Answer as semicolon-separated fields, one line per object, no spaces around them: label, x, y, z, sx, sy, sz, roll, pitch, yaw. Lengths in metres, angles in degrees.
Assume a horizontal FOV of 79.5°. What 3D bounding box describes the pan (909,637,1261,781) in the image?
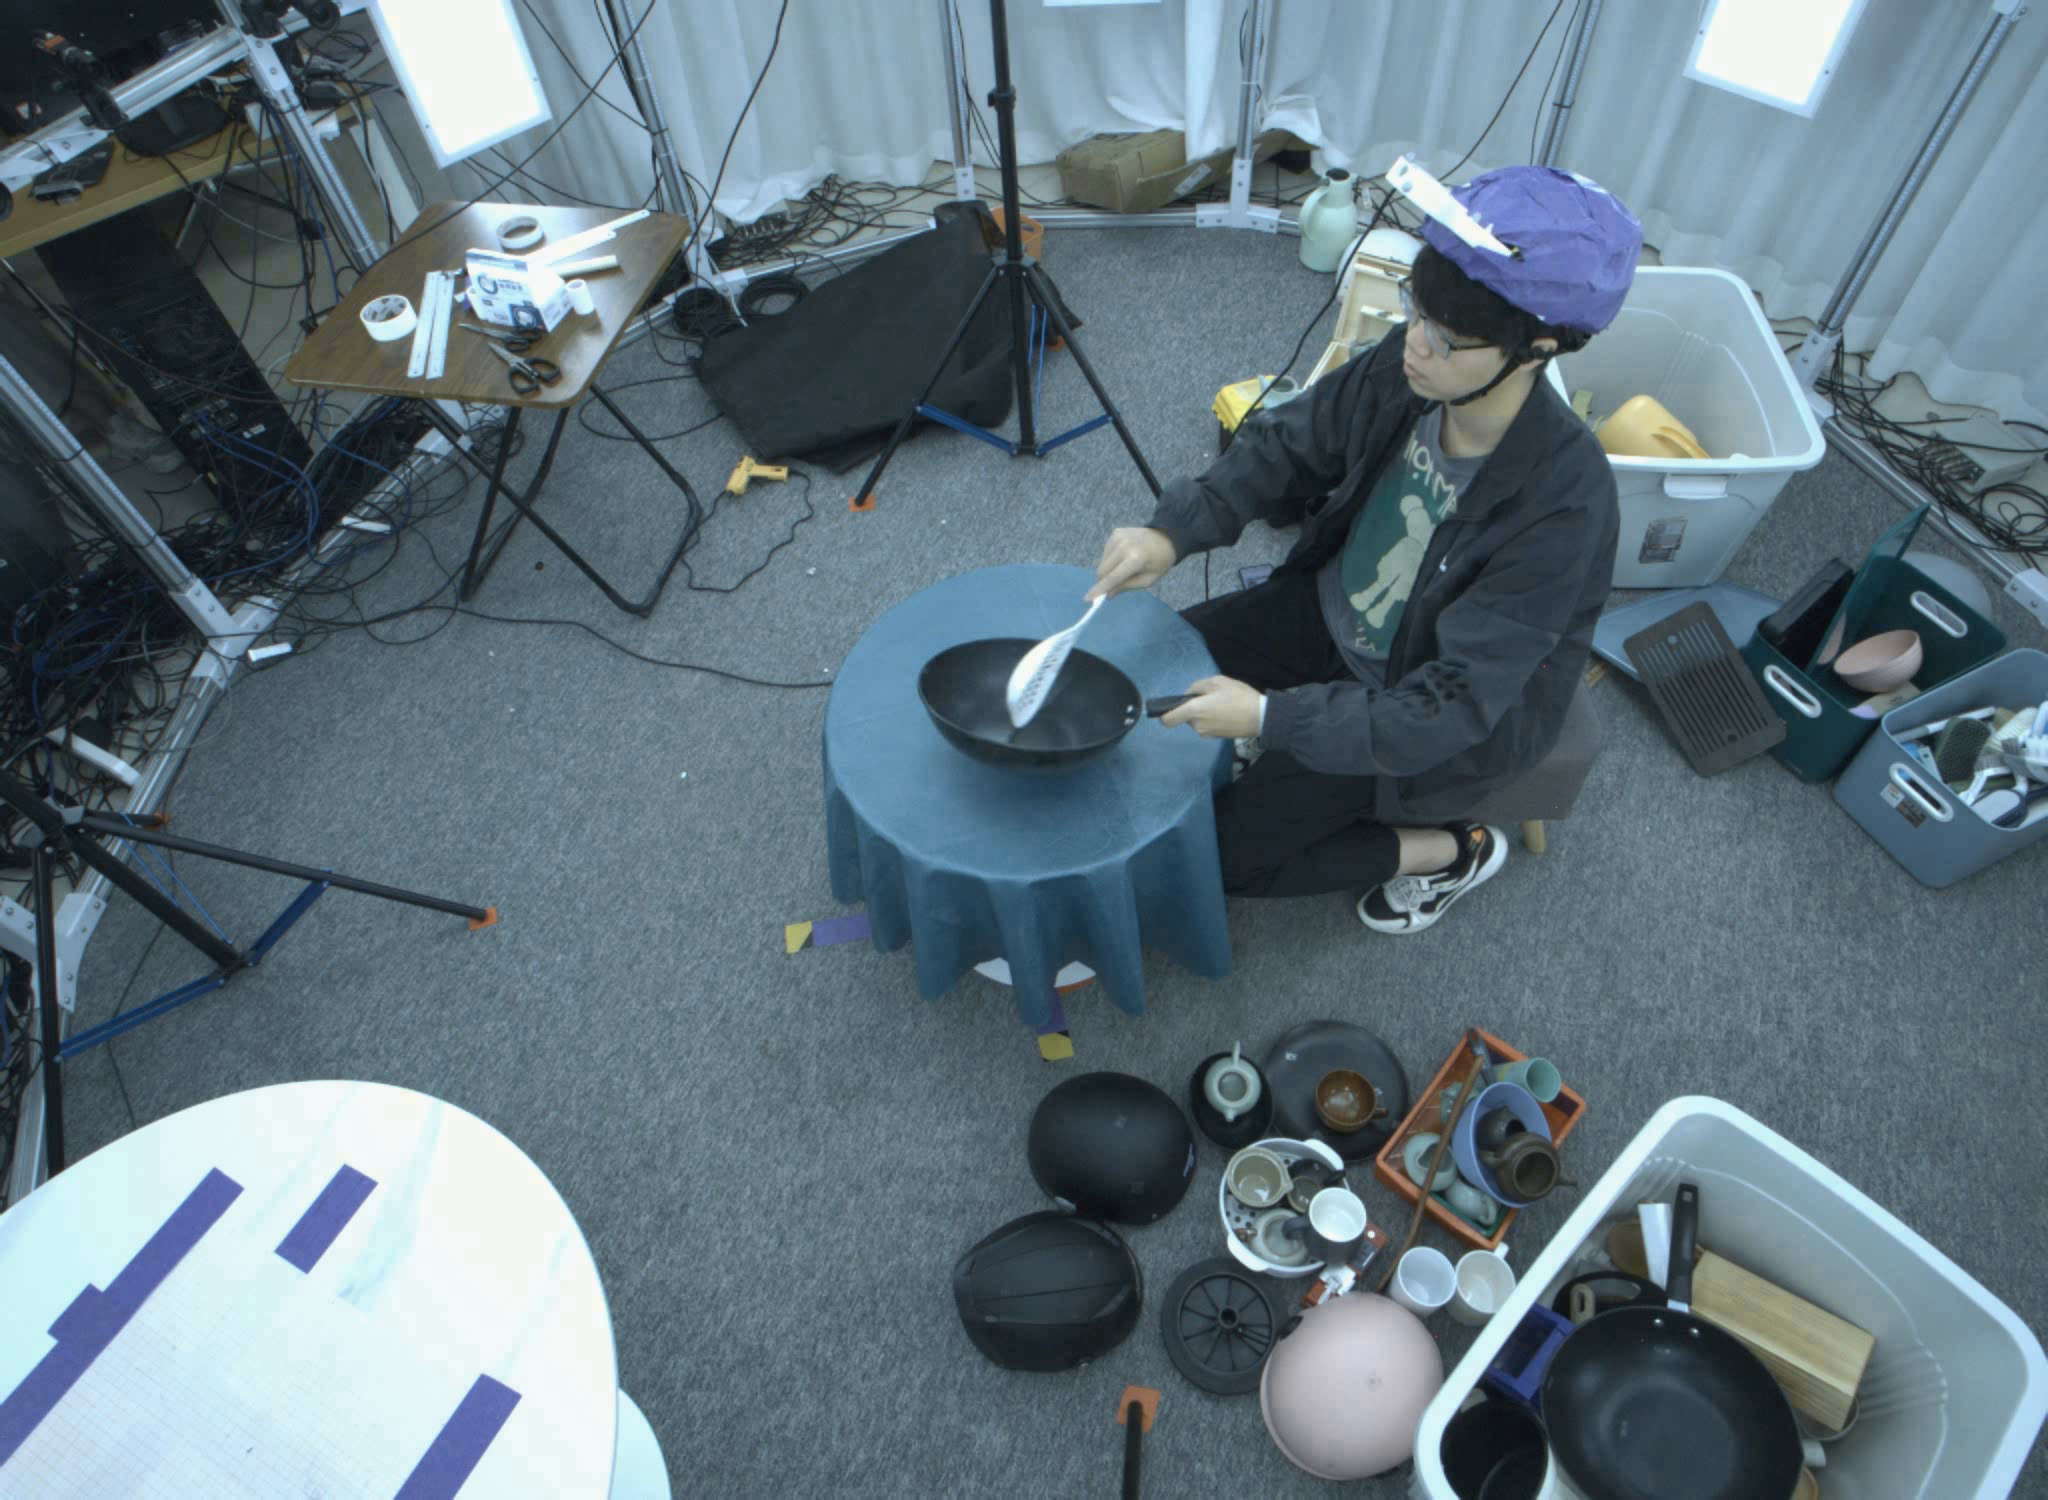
pan;0.080;-0.047;1.687;0.479;0.112;0.307;5;34;-4

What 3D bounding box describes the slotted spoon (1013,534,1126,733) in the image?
slotted spoon;0.073;-0.176;1.754;0.050;0.138;0.349;31;66;15
